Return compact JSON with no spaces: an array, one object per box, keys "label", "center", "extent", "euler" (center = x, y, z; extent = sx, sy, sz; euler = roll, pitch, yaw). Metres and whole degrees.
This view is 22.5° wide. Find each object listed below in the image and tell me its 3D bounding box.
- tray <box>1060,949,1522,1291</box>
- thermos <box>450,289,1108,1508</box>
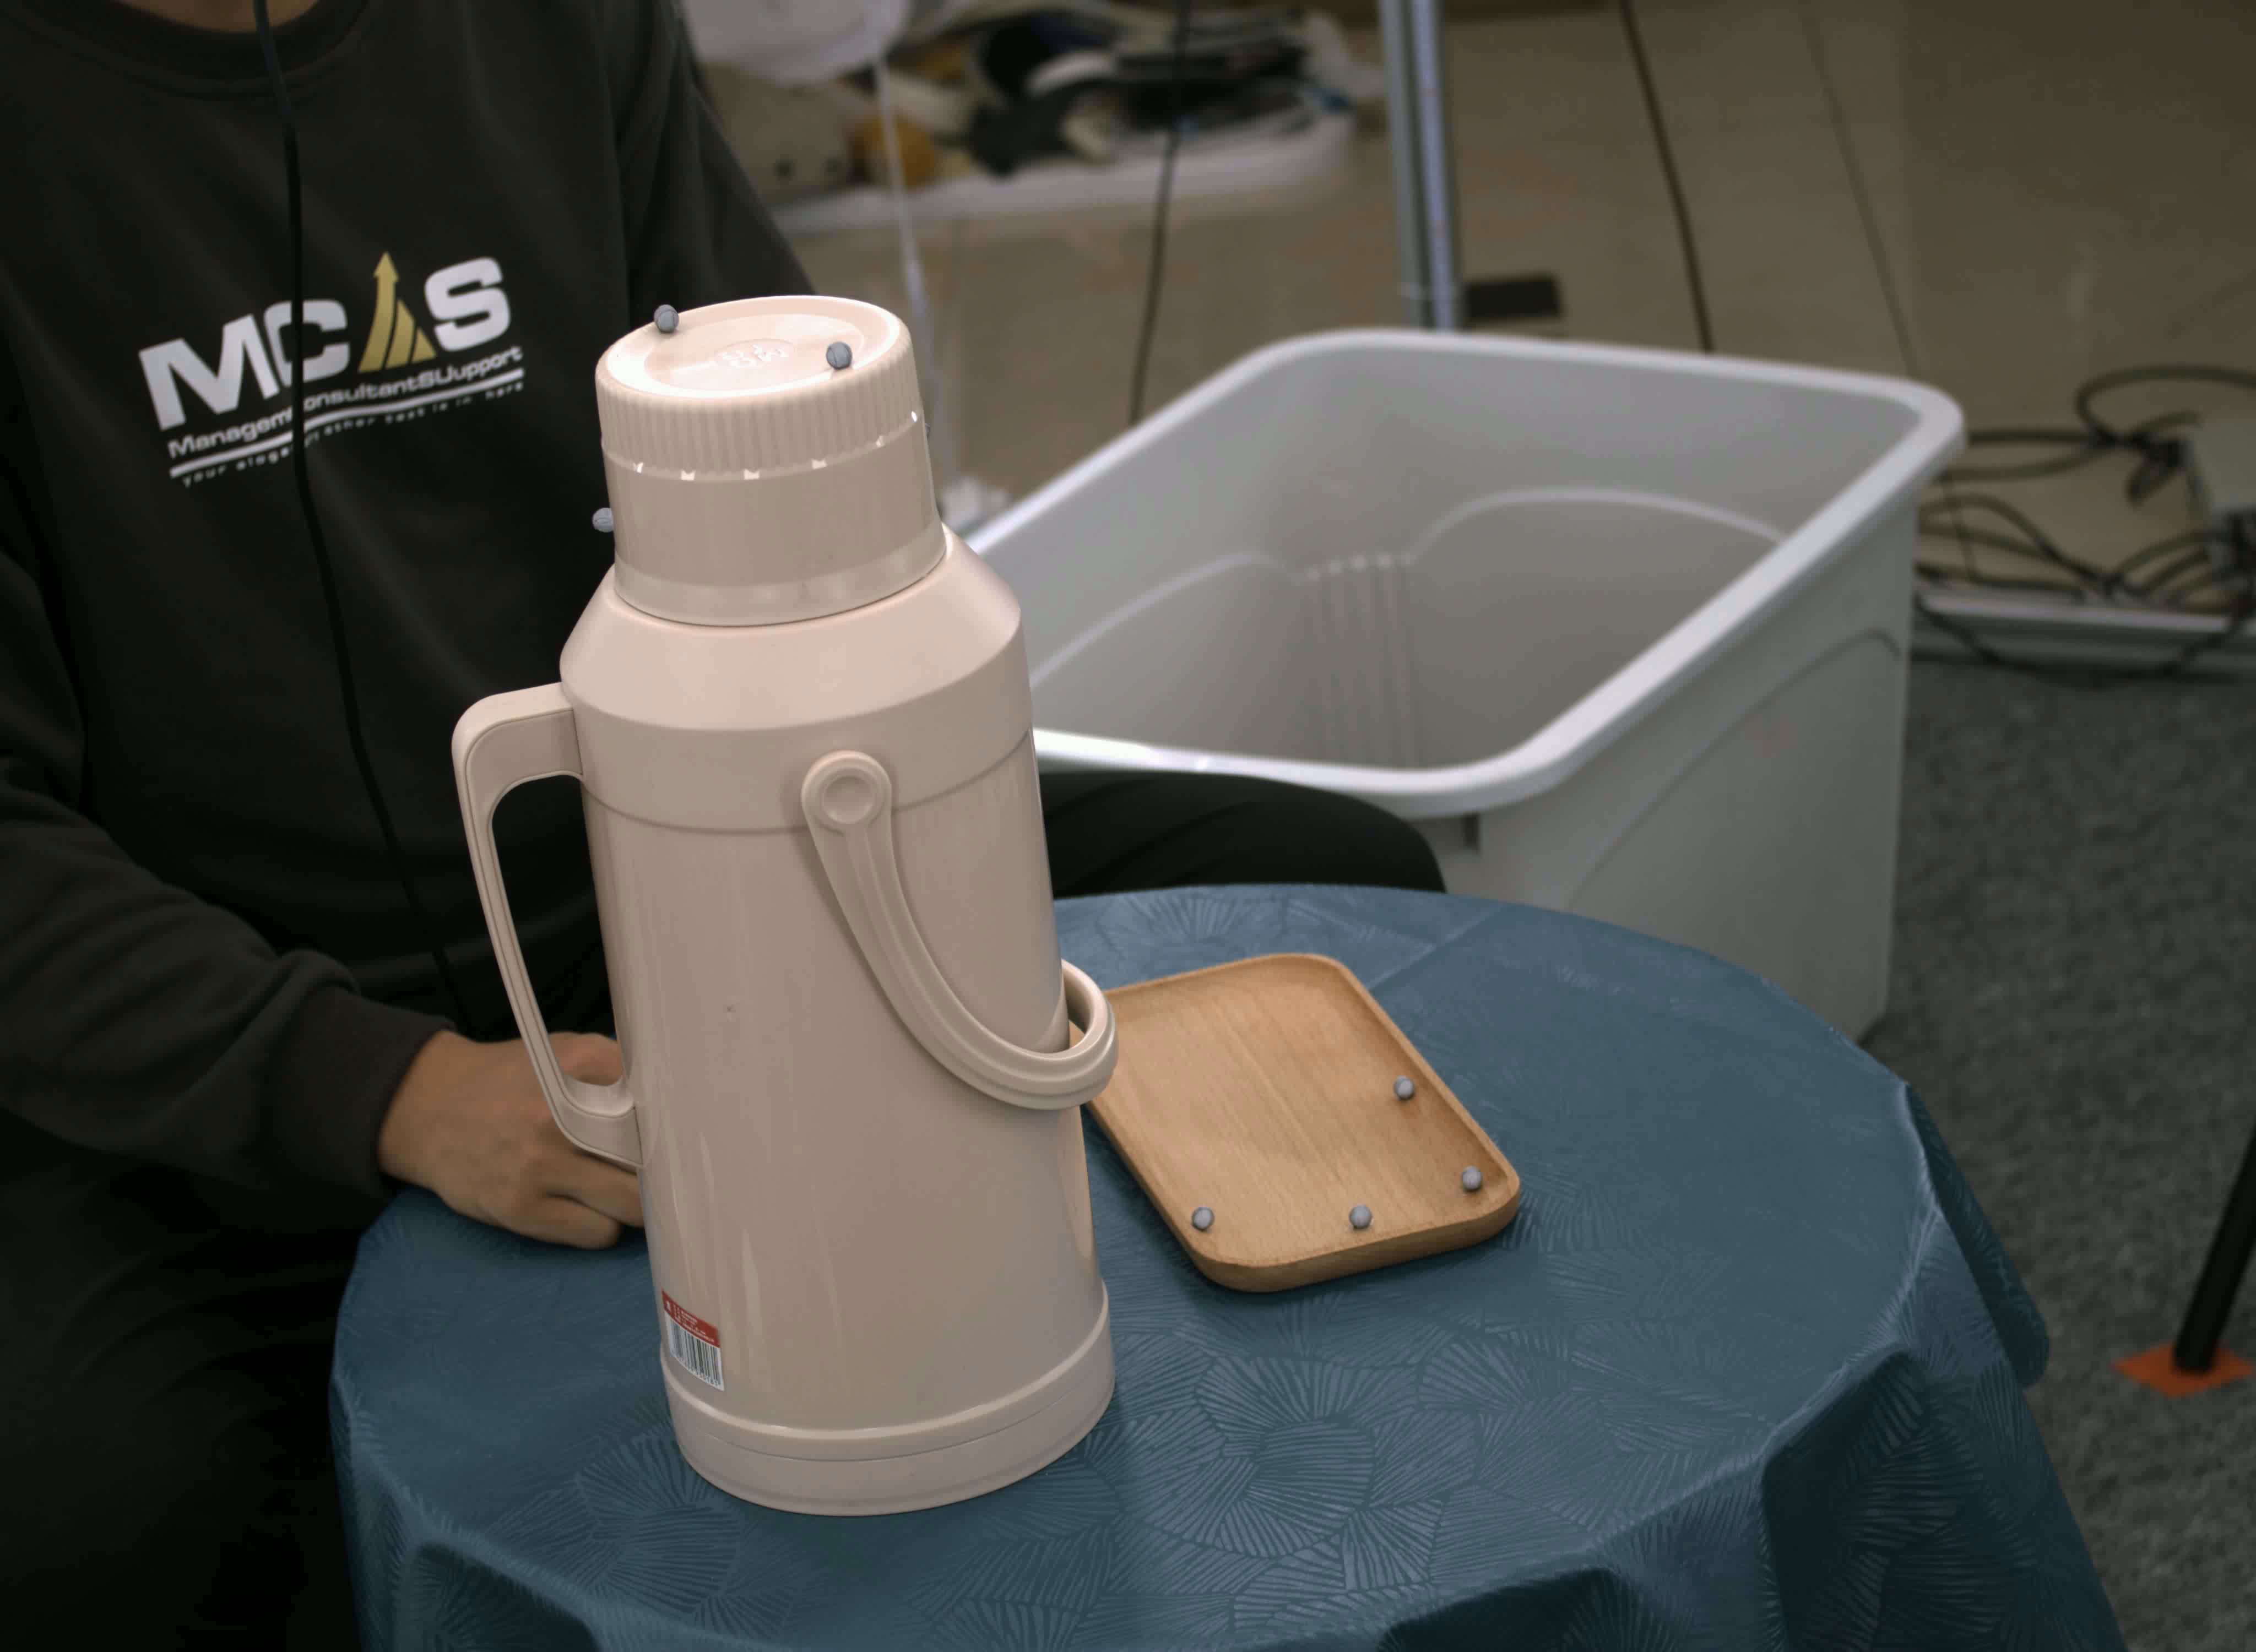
[{"label":"tray","center":[0.057,0.110,2.176],"extent":[0.130,0.023,0.247],"euler":[-10,24,-13]},{"label":"thermos","center":[-0.118,0.026,1.939],"extent":[0.206,0.413,0.173],"euler":[-11,27,-11]}]
